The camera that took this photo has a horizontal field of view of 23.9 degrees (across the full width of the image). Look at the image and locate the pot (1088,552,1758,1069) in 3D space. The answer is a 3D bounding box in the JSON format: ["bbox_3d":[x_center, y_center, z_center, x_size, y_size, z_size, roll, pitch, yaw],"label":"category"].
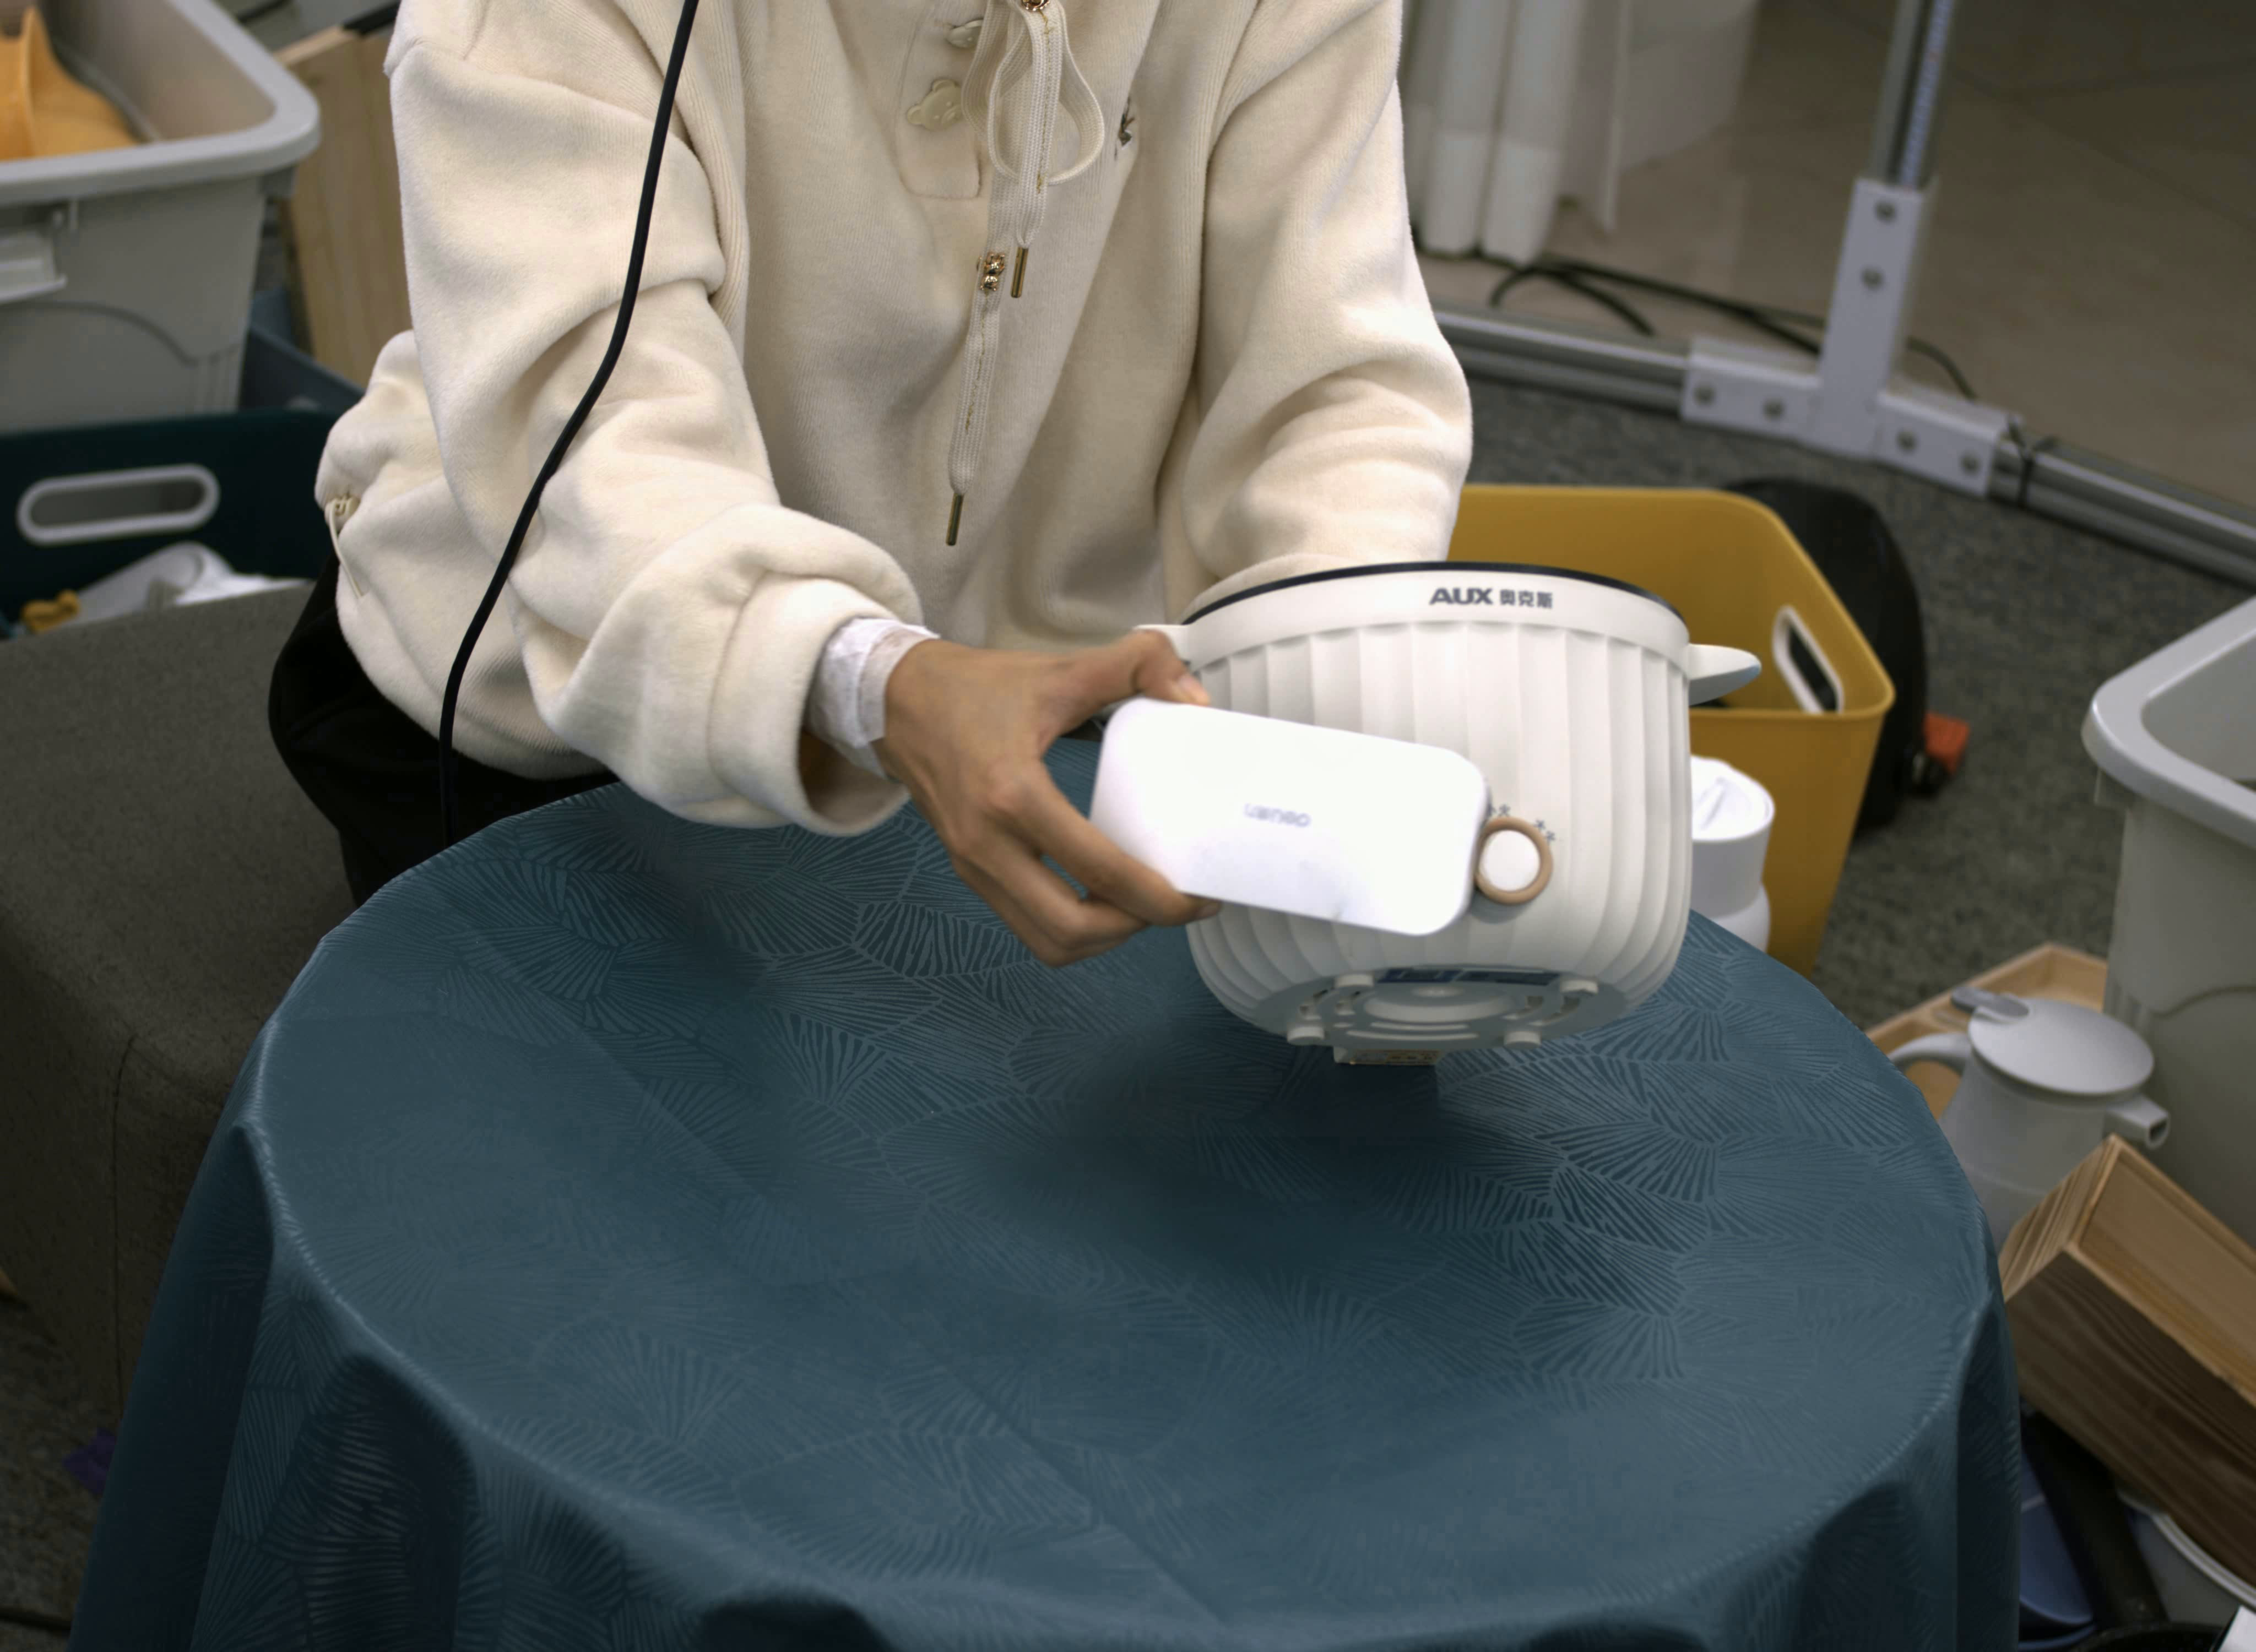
[{"bbox_3d":[0.107,-0.003,1.832,0.239,0.190,0.143,1,70,-11],"label":"pot"}]

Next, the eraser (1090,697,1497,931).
[{"bbox_3d":[0.053,-0.005,1.721,0.131,0.063,0.034,10,-3,20],"label":"eraser"}]
